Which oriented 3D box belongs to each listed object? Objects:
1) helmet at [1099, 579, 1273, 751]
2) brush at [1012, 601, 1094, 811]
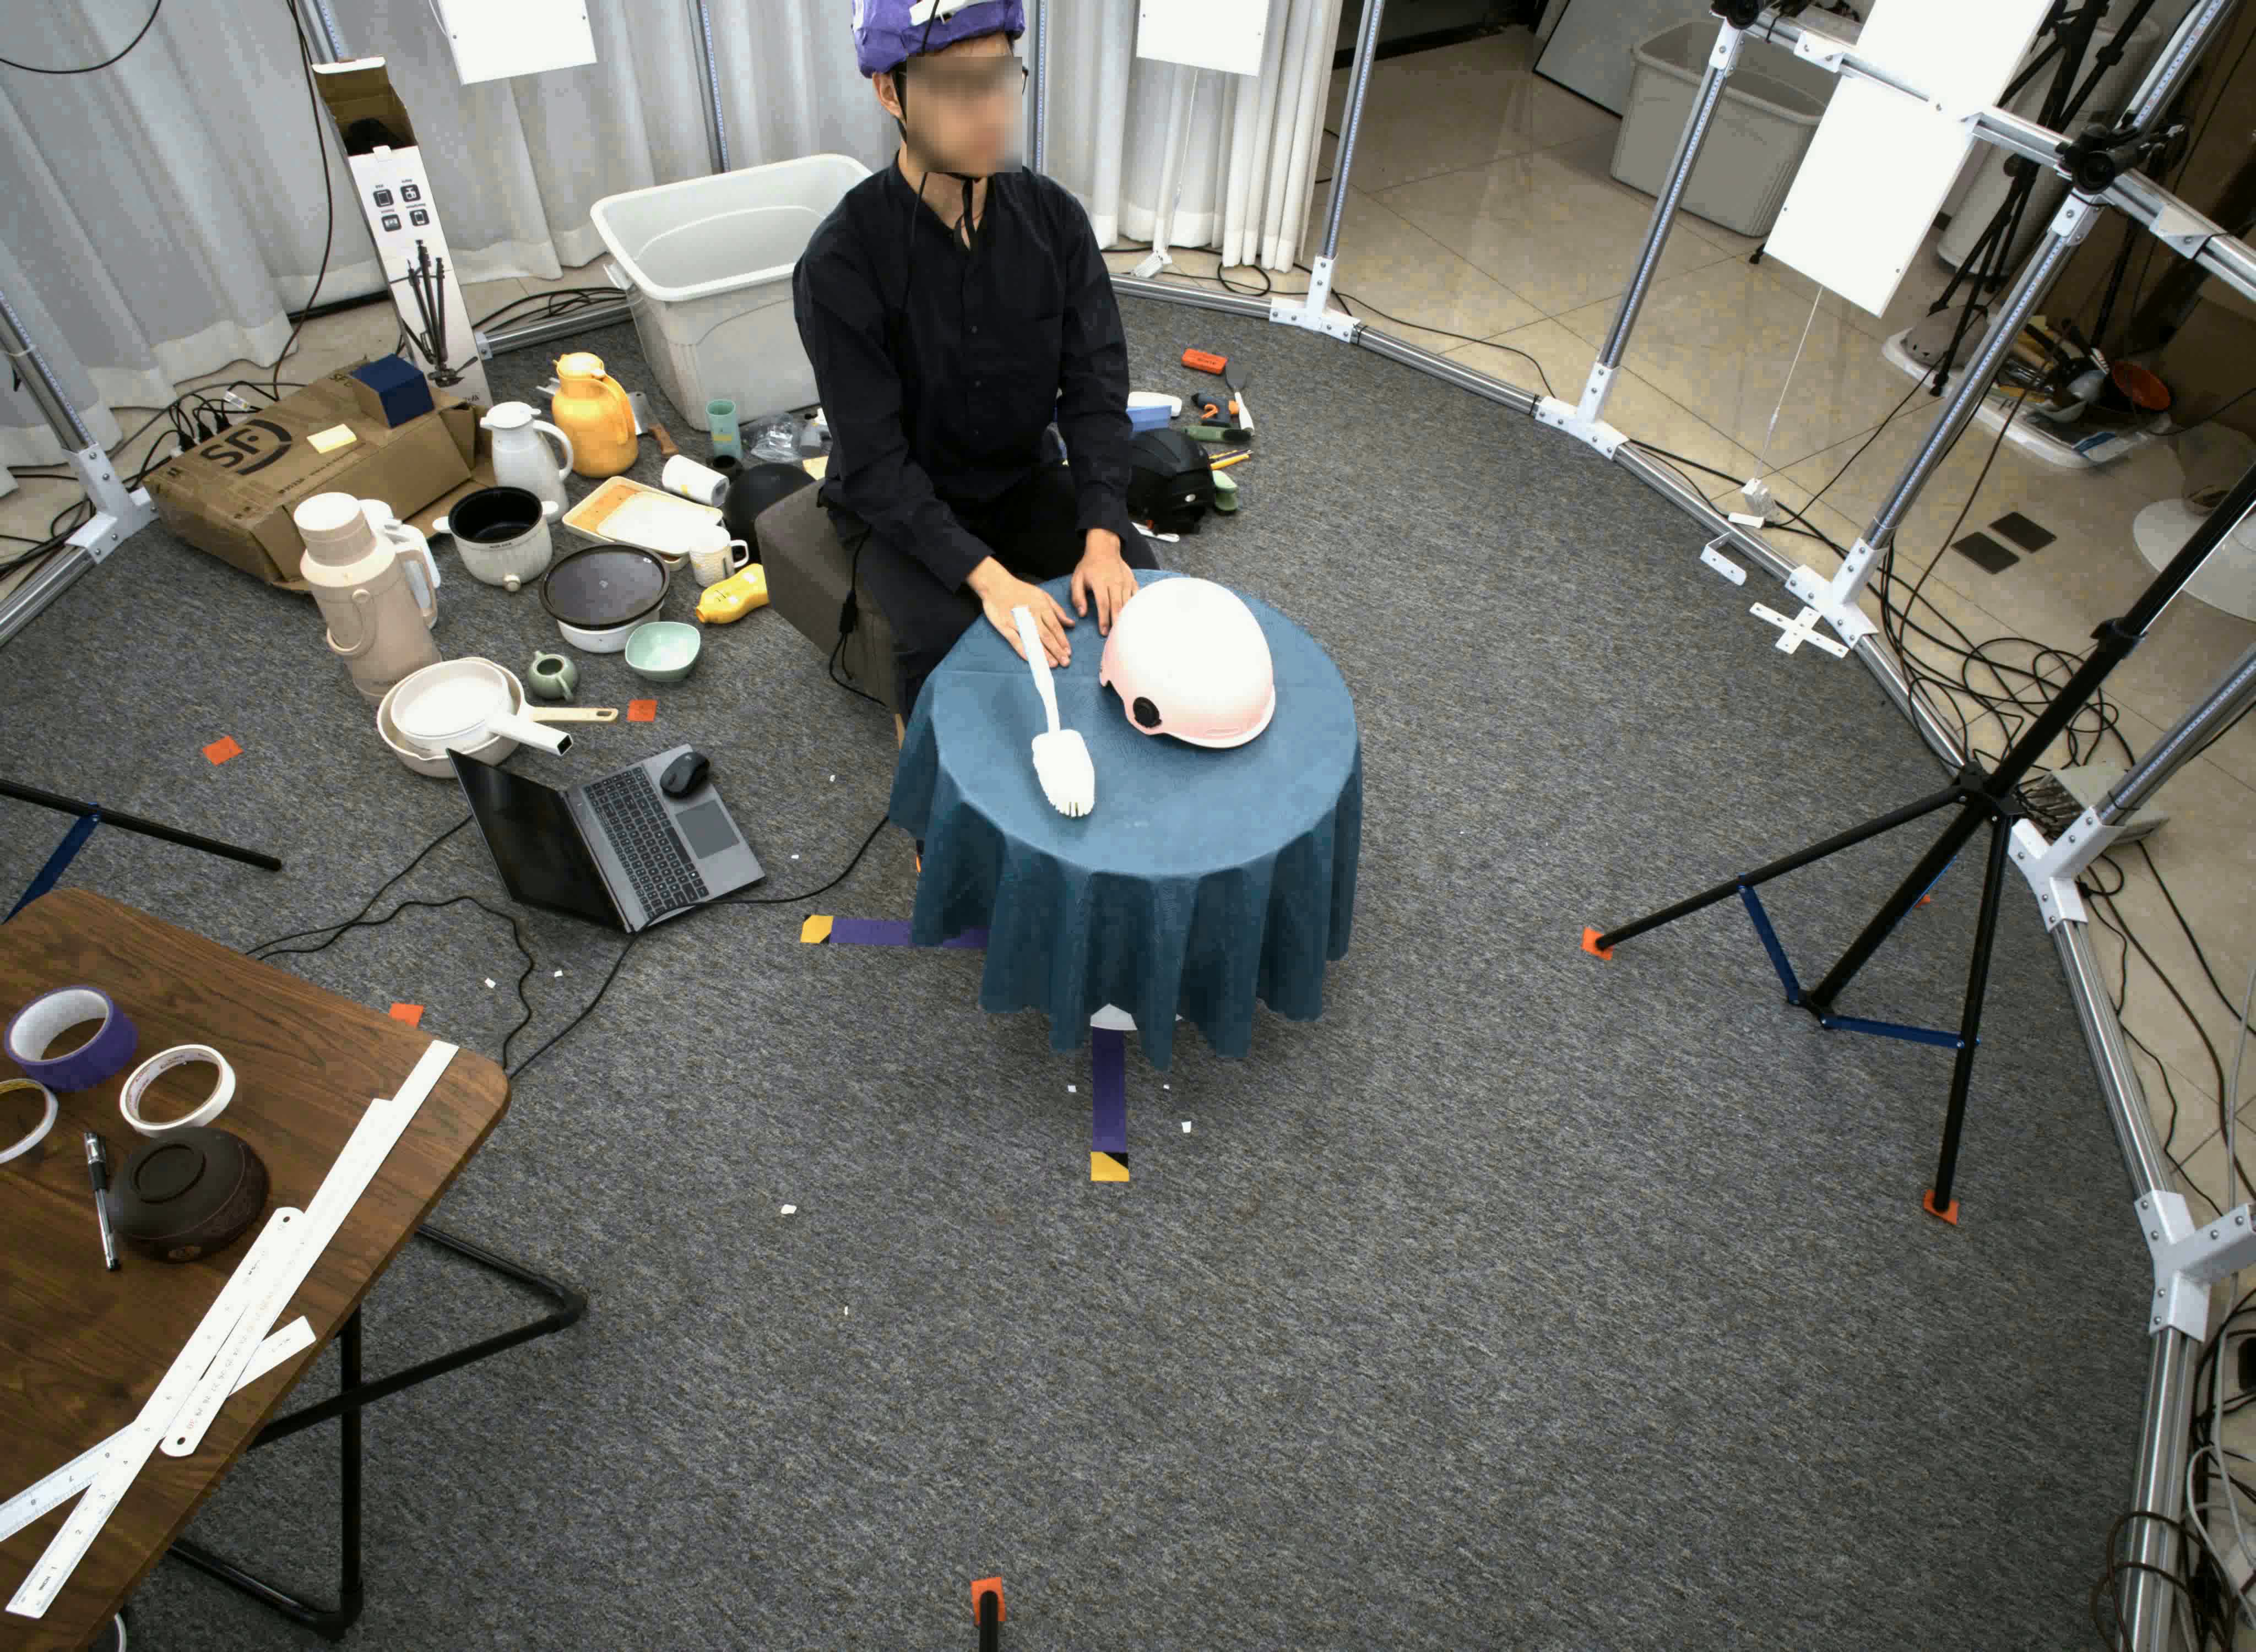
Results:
[{"bbox_3d":[0.092,-0.243,1.789,0.236,0.155,0.270,-32,63,-28],"label":"helmet"},{"bbox_3d":[-0.106,-0.160,1.745,0.082,0.083,0.332,11,51,-45],"label":"brush"}]
